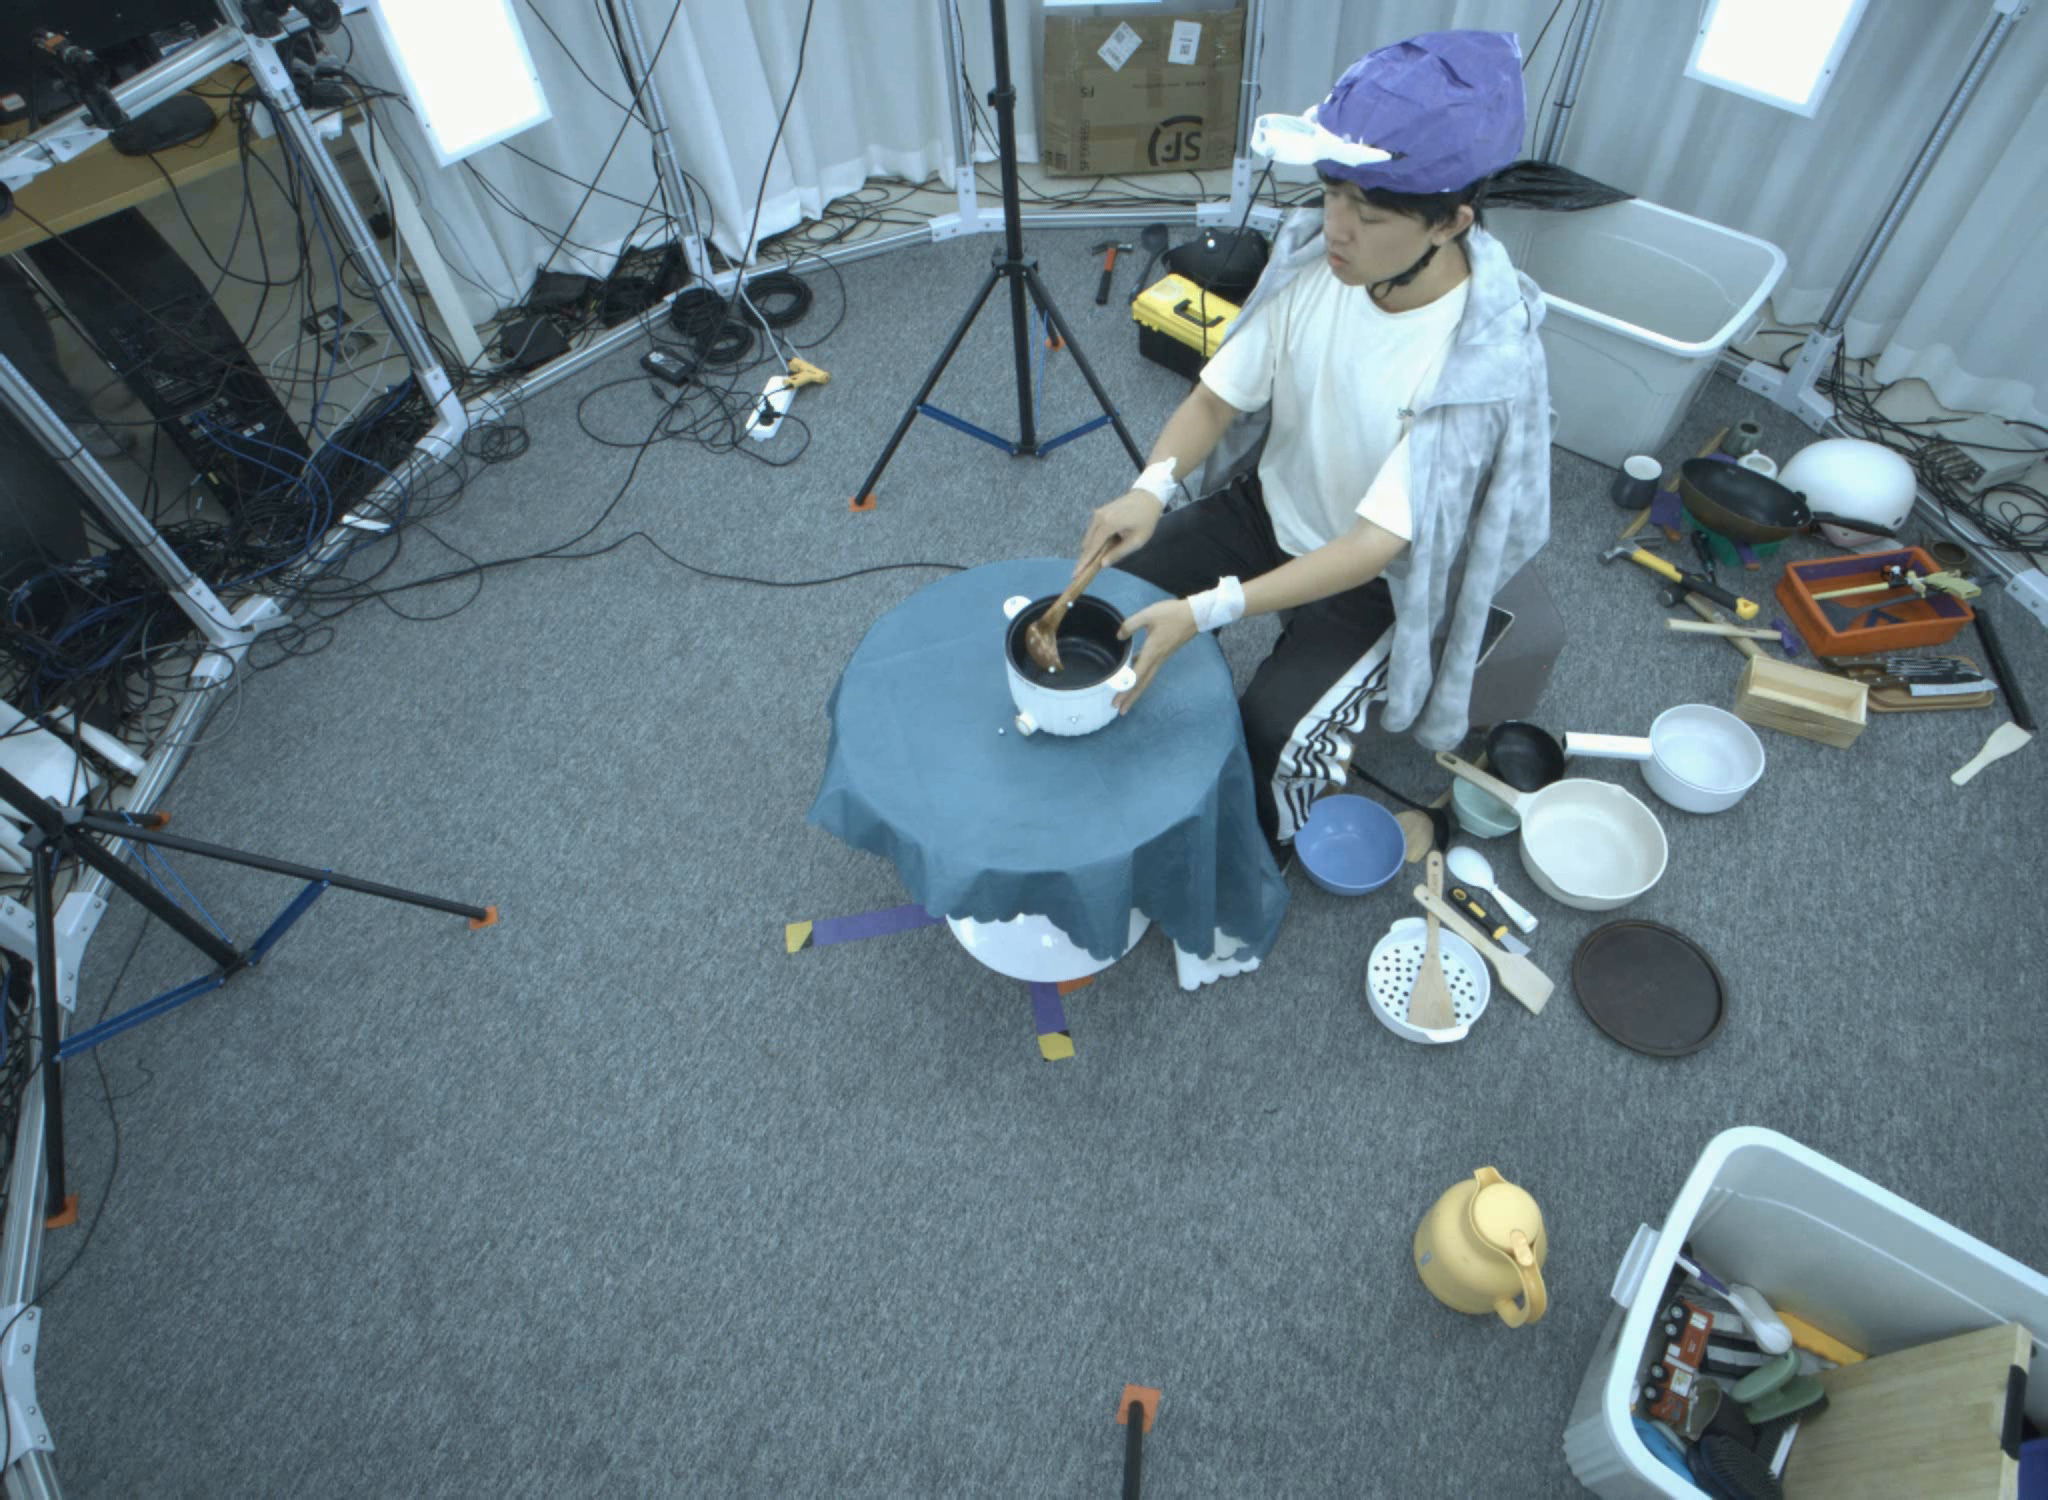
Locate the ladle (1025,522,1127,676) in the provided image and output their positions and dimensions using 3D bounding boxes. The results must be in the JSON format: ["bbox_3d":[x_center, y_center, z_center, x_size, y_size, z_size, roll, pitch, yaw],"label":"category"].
[{"bbox_3d":[0.089,-0.219,1.733,0.075,0.083,0.275,23,66,36],"label":"ladle"}]

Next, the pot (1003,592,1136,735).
[{"bbox_3d":[0.062,-0.113,1.782,0.236,0.144,0.192,36,60,26],"label":"pot"}]
